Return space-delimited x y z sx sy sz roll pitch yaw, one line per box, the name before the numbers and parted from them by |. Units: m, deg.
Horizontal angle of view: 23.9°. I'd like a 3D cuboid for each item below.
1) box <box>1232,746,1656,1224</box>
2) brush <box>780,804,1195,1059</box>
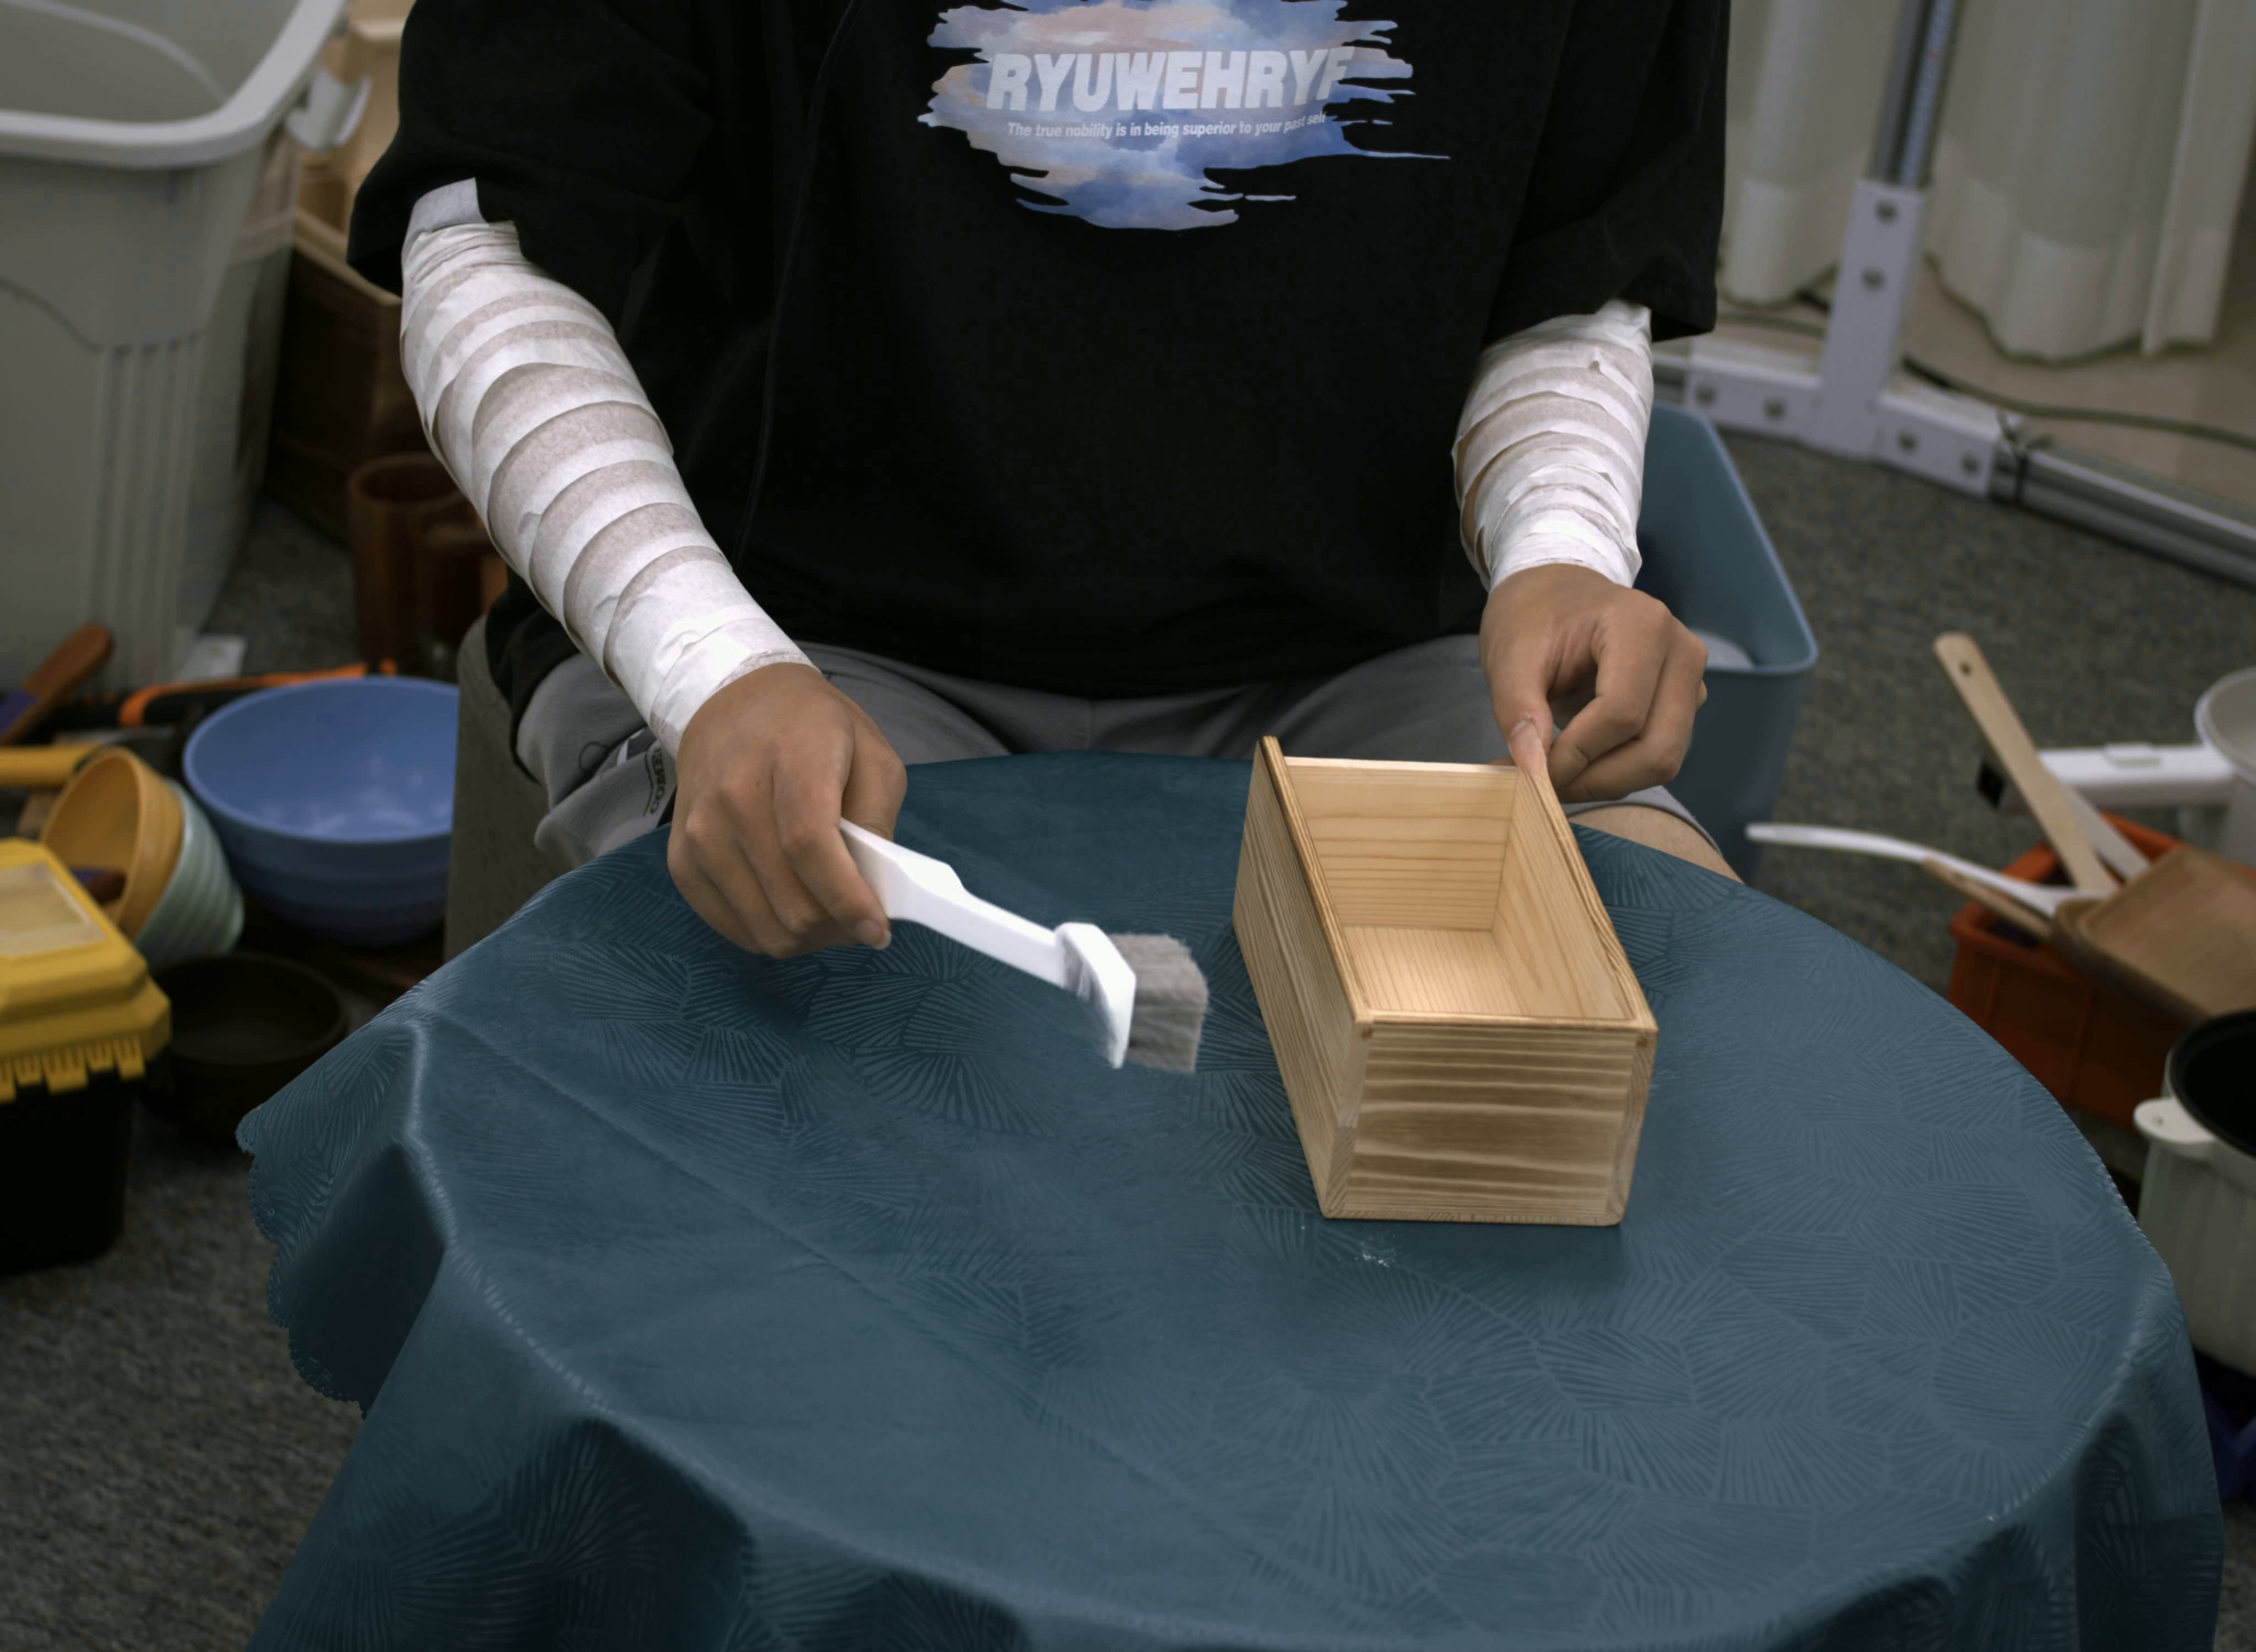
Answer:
box | 0.107 0.053 1.881 0.107 0.080 0.213 2 26 -10
brush | -0.047 0.032 1.804 0.050 0.034 0.245 5 11 -31
